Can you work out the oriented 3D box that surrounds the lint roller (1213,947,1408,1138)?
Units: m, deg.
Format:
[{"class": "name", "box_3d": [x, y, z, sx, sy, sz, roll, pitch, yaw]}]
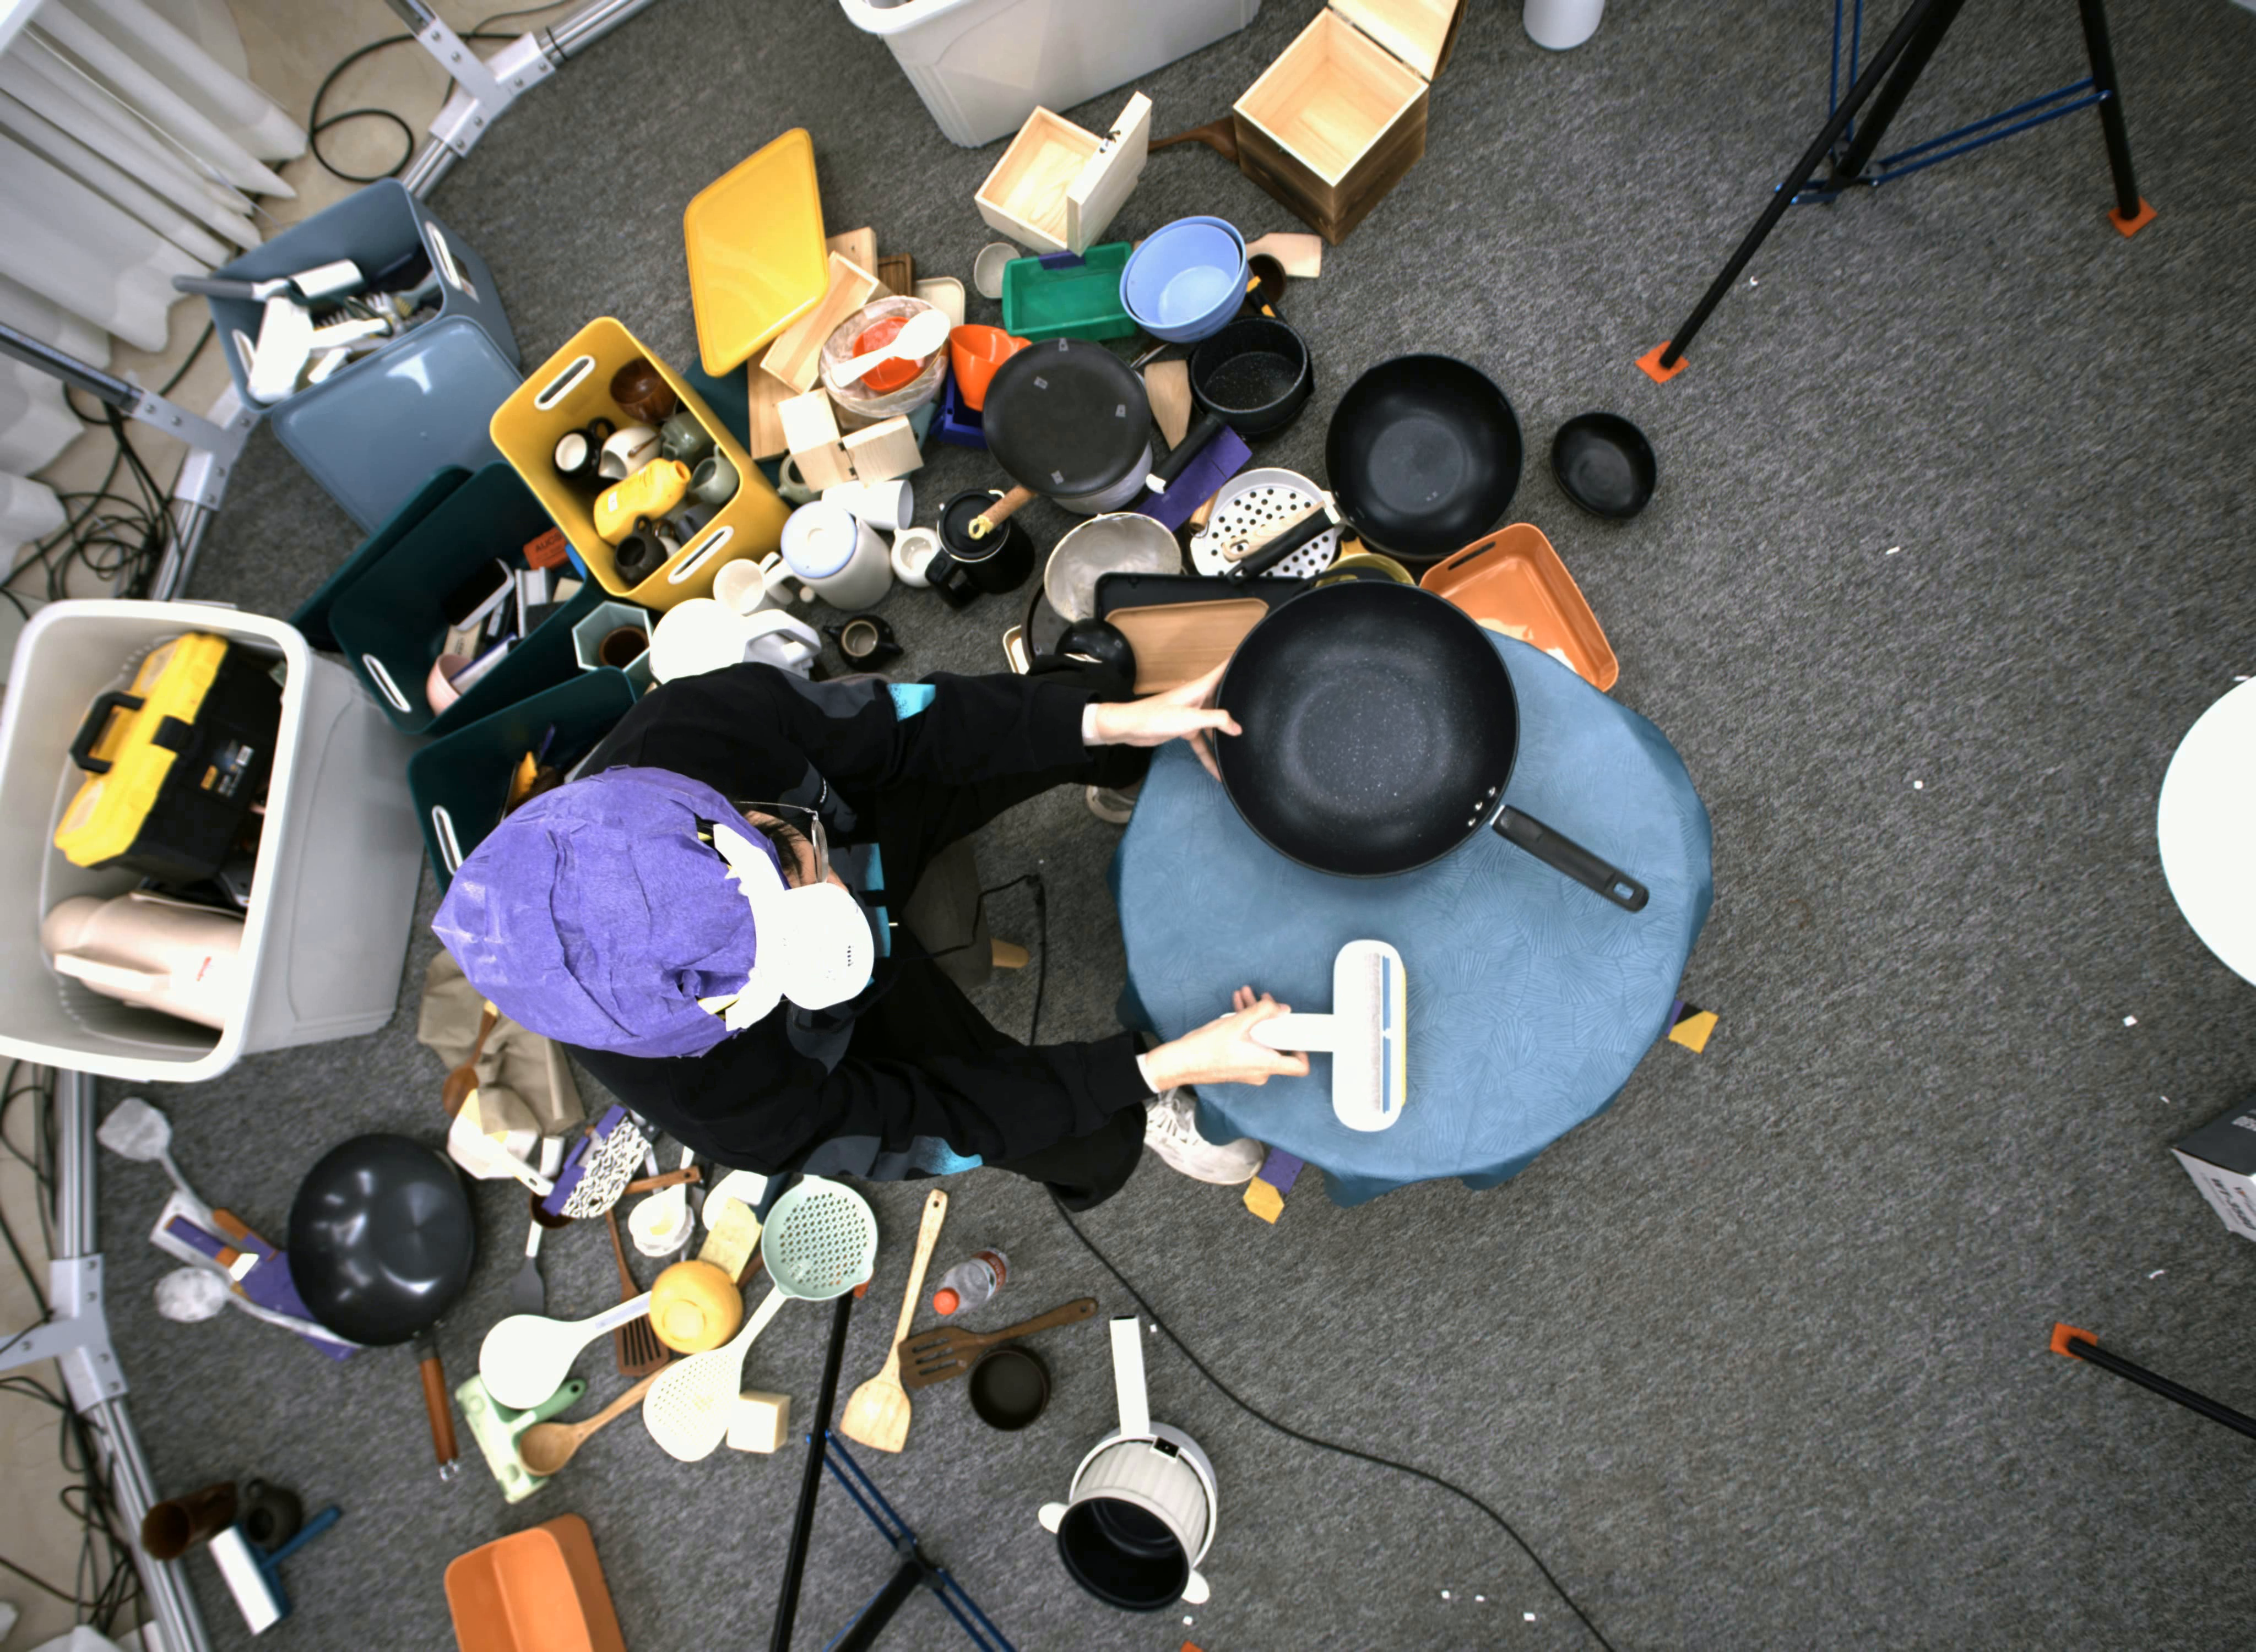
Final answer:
[{"class": "lint roller", "box_3d": [0.185, 0.213, 1.417, 0.192, 0.074, 0.191, 7, 84, -3]}]

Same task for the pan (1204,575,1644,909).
[{"class": "pan", "box_3d": [0.304, -0.056, 1.401, 0.476, 0.111, 0.311, 33, 94, 10]}]
